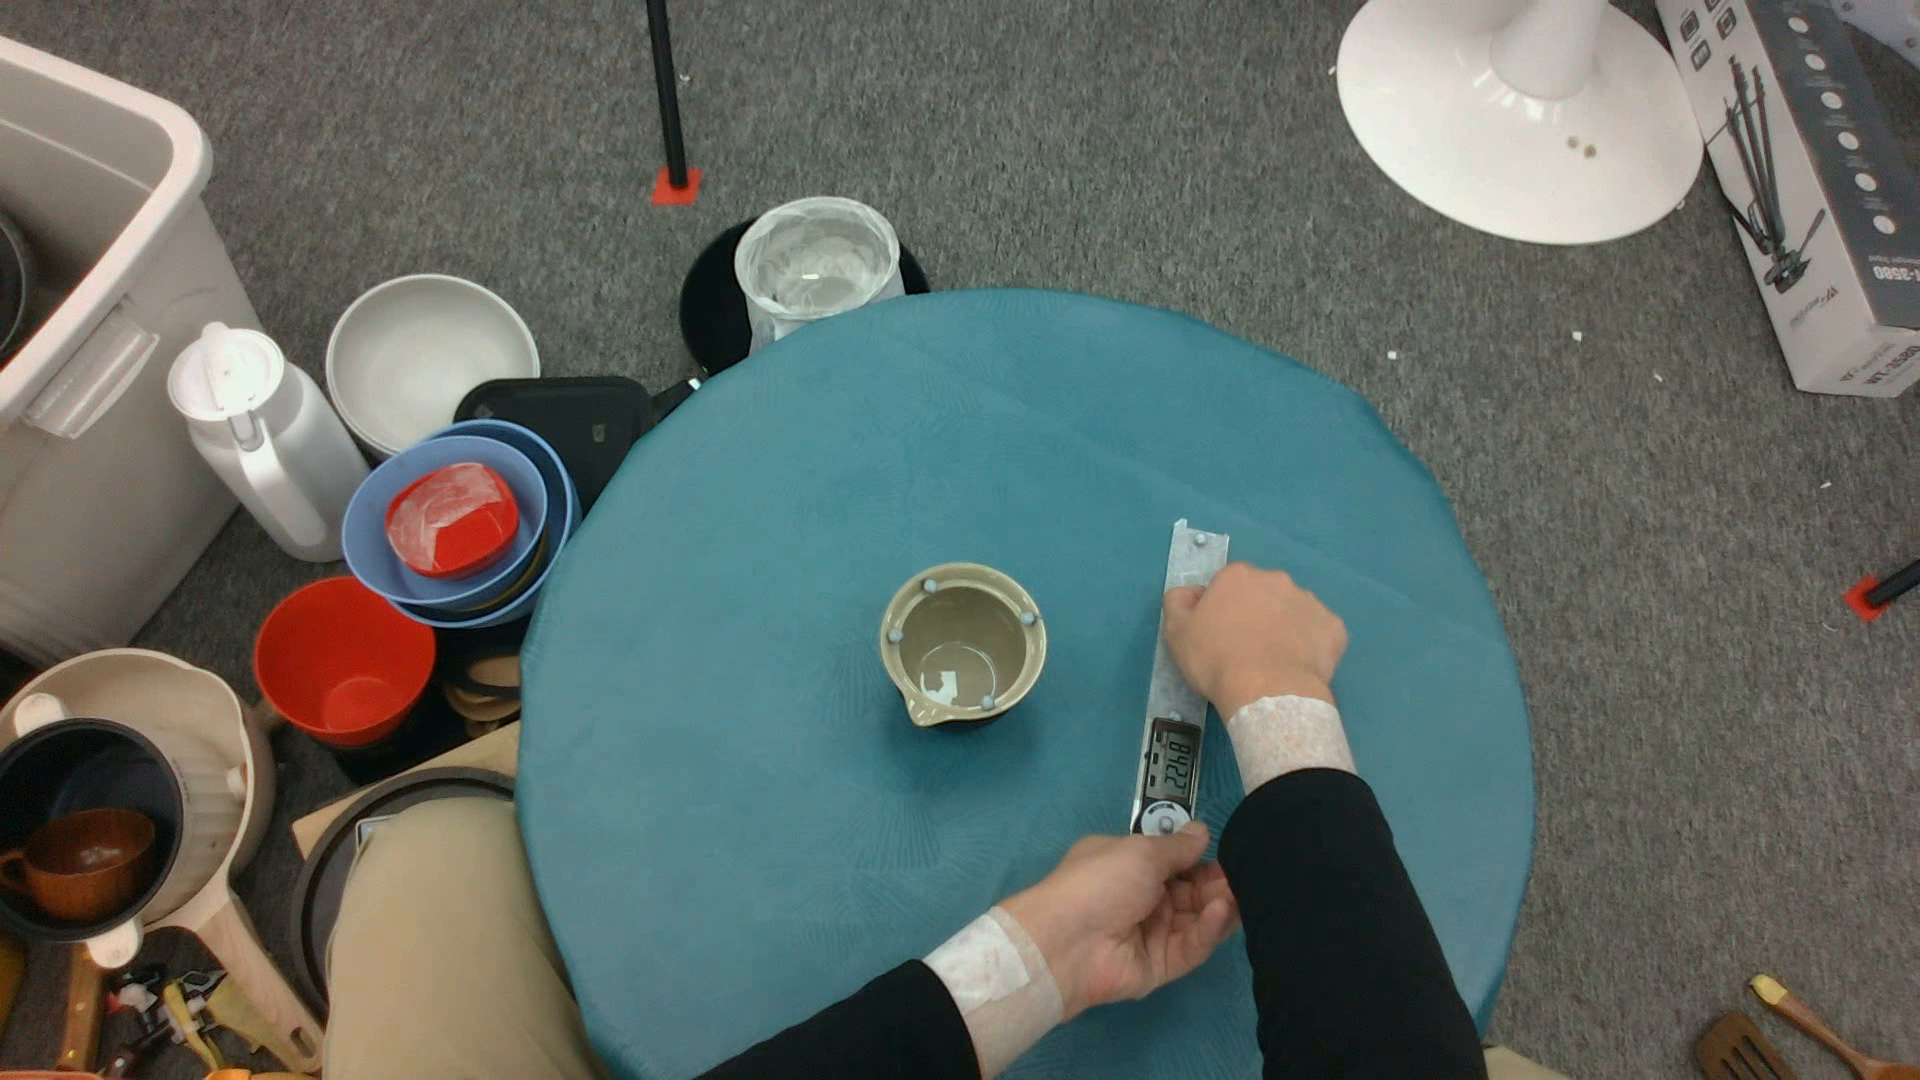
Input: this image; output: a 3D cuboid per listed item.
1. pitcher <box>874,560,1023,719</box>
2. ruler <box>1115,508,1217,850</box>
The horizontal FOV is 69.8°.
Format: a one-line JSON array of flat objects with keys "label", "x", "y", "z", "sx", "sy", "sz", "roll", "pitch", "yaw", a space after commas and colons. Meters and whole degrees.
[{"label": "pitcher", "x": -0.011, "y": 0.066, "z": 0.784, "sx": 0.083, "sy": 0.071, "sz": 0.096, "roll": 26, "pitch": 63, "yaw": 7}, {"label": "ruler", "x": 0.126, "y": 0.076, "z": 0.820, "sx": 0.038, "sy": 0.024, "sz": 0.219, "roll": 15, "pitch": 64, "yaw": -4}]
